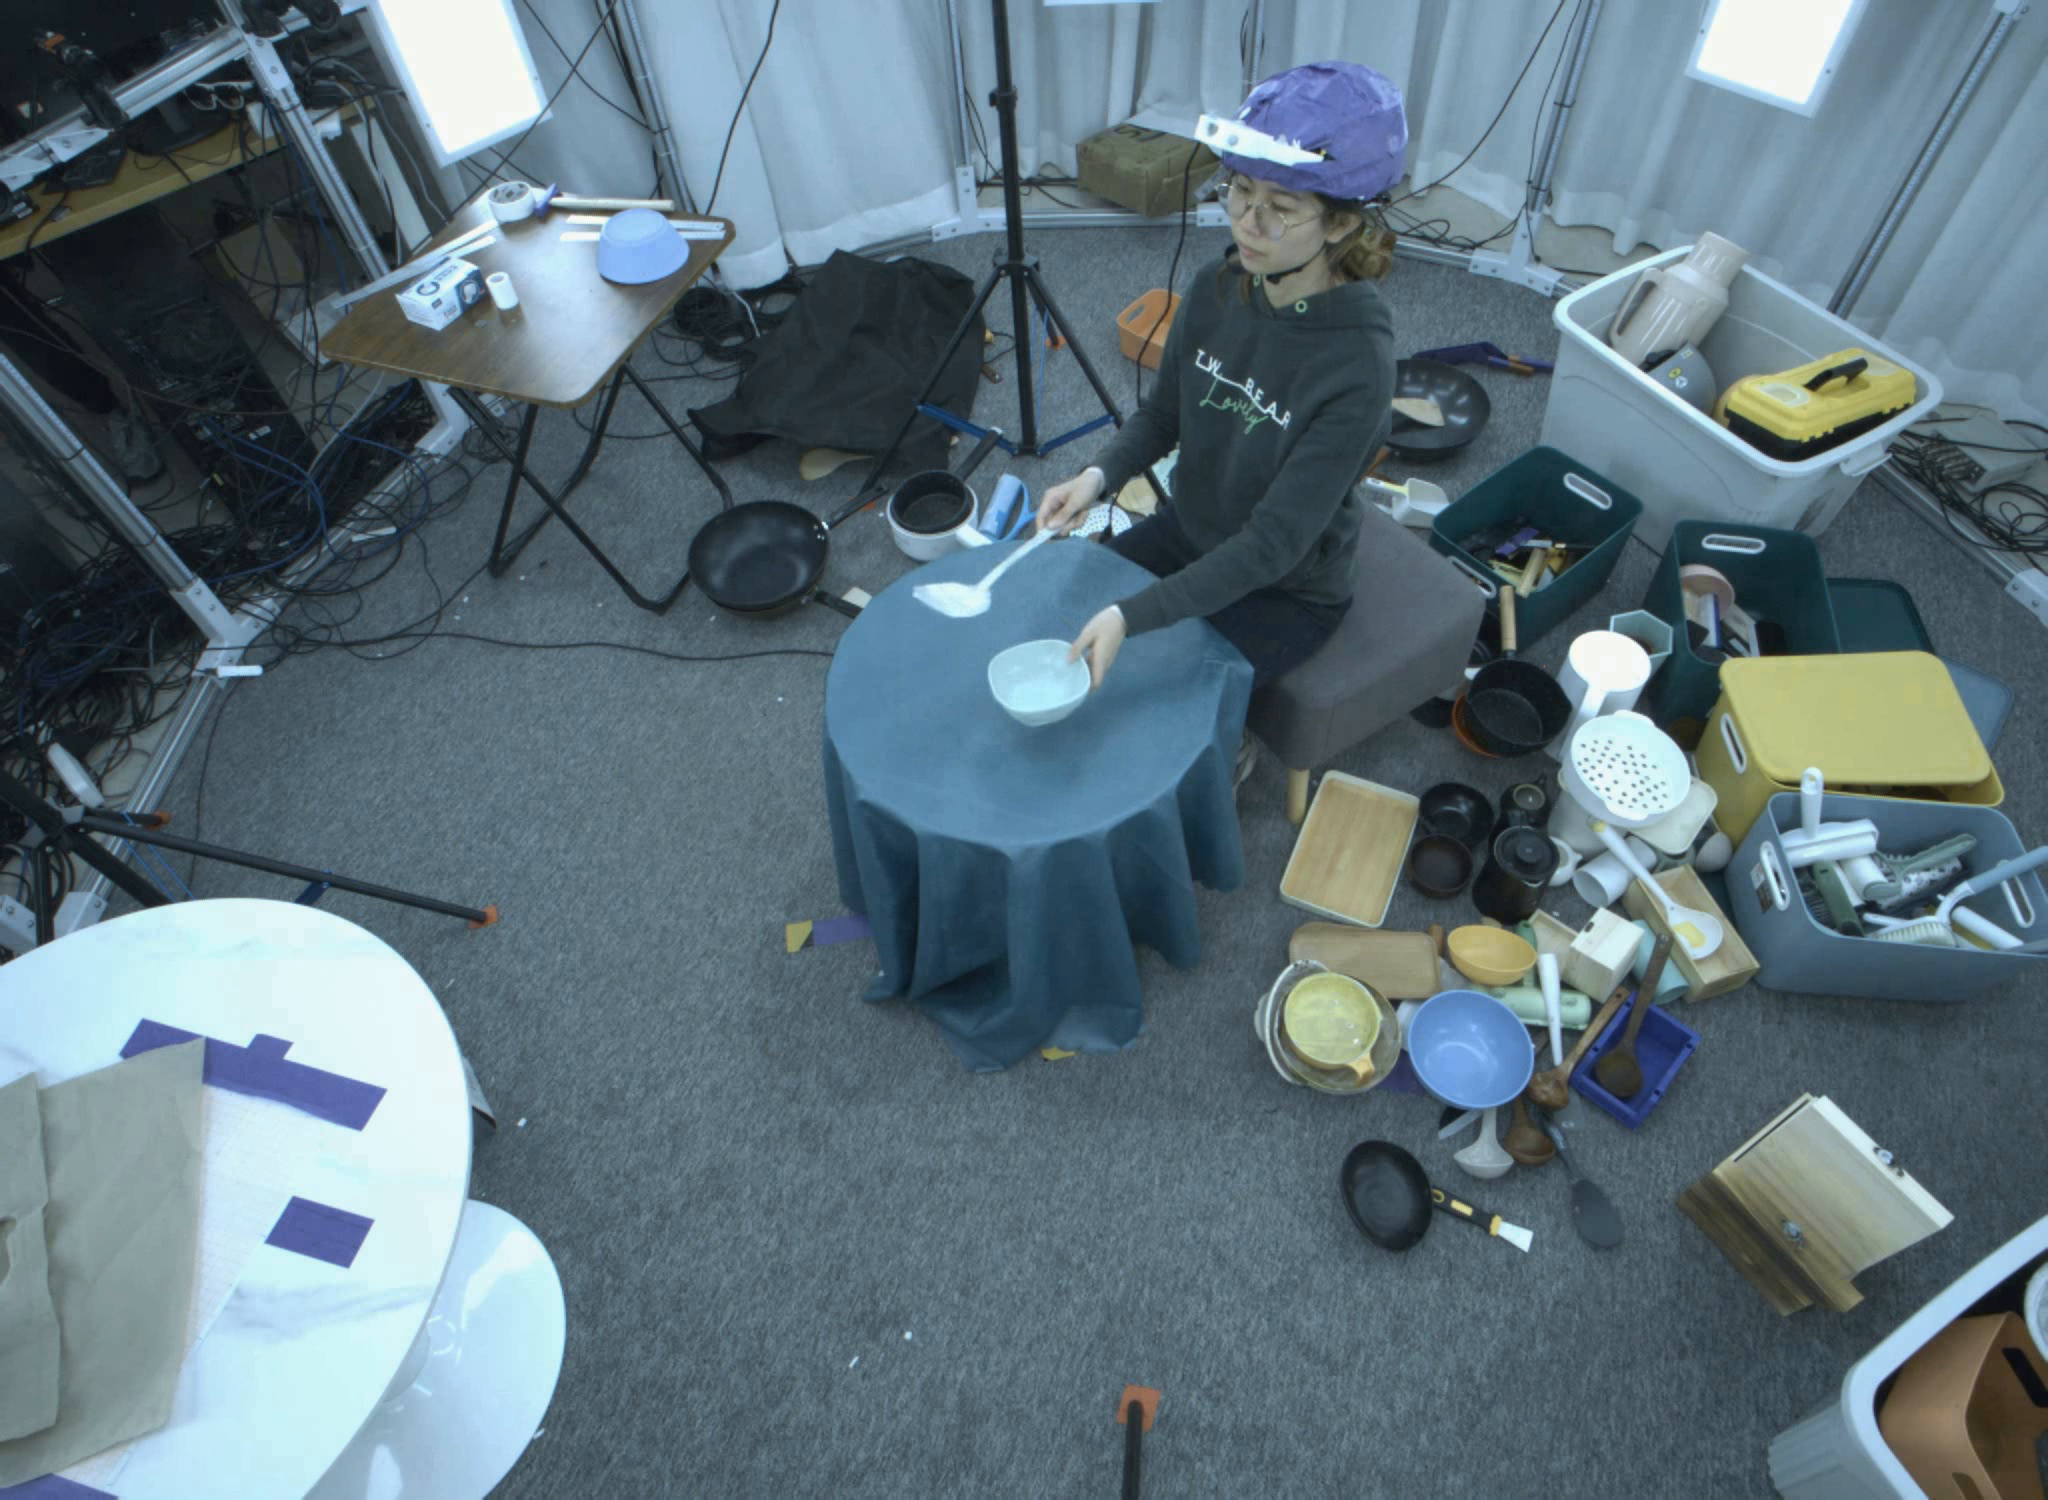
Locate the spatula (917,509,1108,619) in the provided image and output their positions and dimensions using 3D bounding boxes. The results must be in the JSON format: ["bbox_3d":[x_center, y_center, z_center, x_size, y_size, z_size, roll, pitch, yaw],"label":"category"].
[{"bbox_3d":[-0.002,-0.283,1.790,0.097,0.045,0.368,32,56,28],"label":"spatula"}]

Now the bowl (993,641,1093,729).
[{"bbox_3d":[0.029,-0.083,1.746,0.151,0.059,0.150,-3,52,5],"label":"bowl"}]
